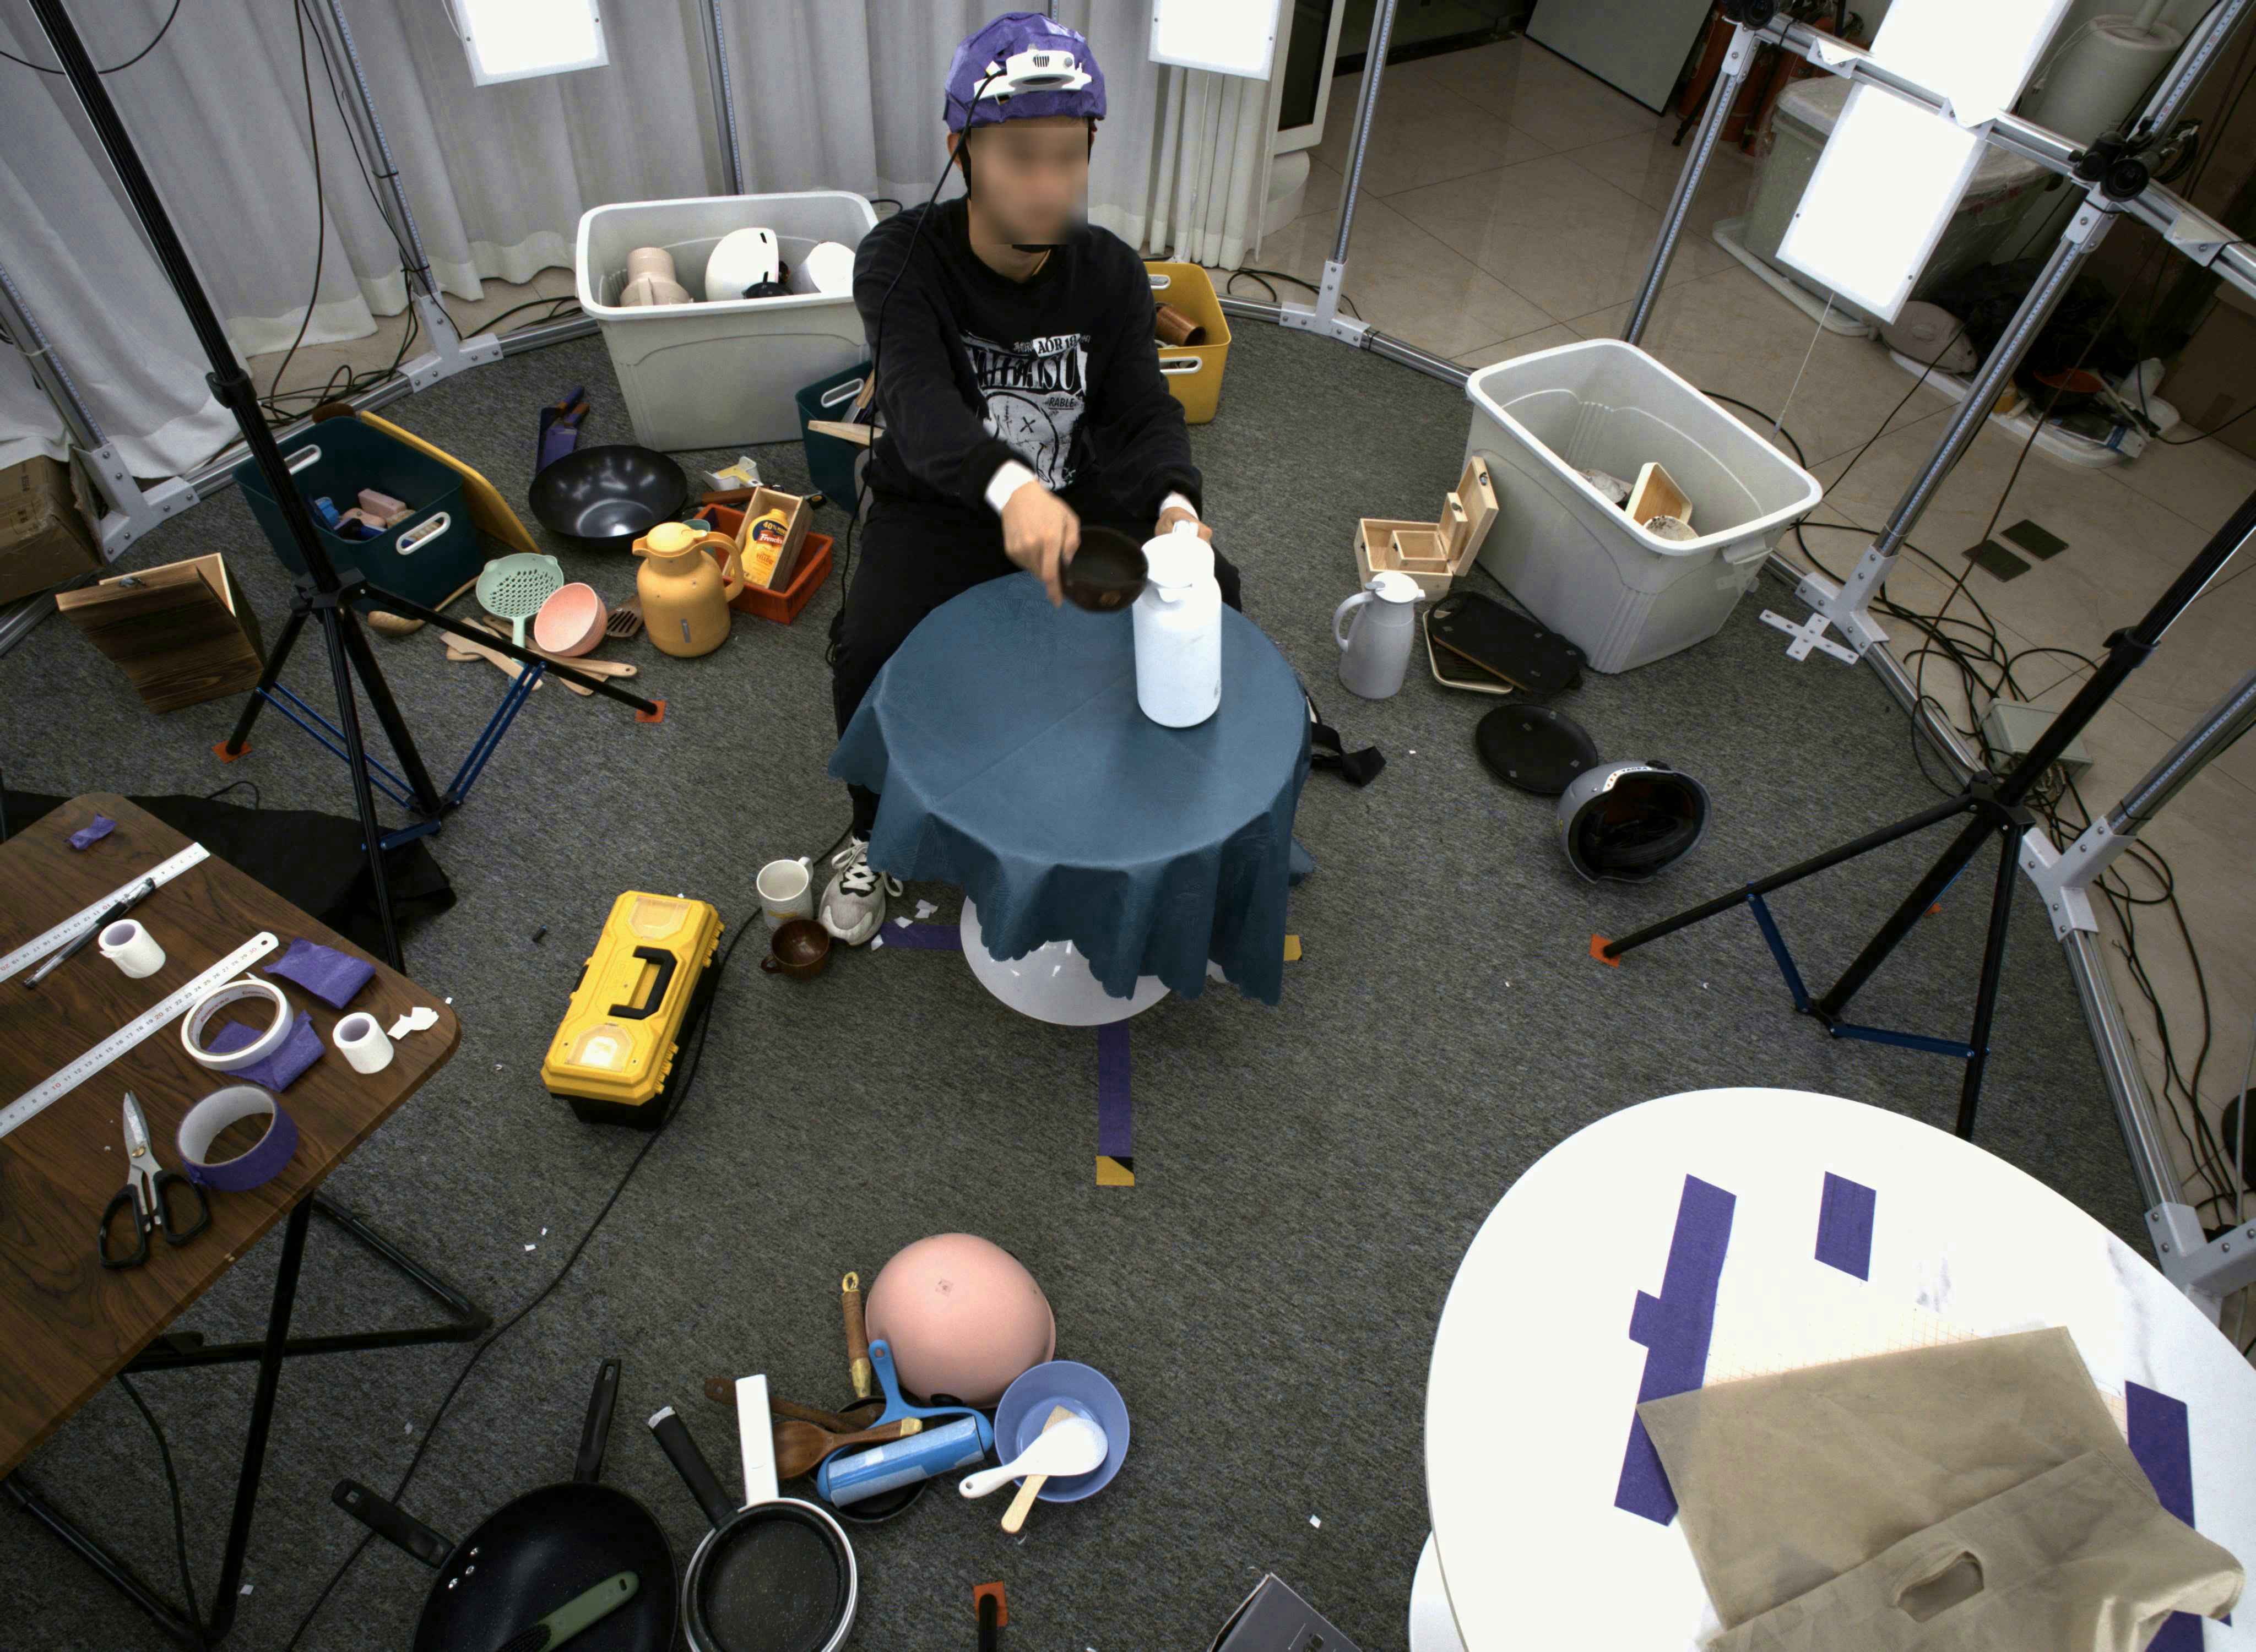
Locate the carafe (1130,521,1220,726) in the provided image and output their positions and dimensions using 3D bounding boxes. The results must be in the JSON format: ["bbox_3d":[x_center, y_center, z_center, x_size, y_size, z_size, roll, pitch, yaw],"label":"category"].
[{"bbox_3d":[0.066,-0.274,1.731,0.124,0.262,0.177,3,53,9],"label":"carafe"}]

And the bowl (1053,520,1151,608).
[{"bbox_3d":[-0.035,-0.312,1.575,0.117,0.068,0.121,10,44,-11],"label":"bowl"}]
